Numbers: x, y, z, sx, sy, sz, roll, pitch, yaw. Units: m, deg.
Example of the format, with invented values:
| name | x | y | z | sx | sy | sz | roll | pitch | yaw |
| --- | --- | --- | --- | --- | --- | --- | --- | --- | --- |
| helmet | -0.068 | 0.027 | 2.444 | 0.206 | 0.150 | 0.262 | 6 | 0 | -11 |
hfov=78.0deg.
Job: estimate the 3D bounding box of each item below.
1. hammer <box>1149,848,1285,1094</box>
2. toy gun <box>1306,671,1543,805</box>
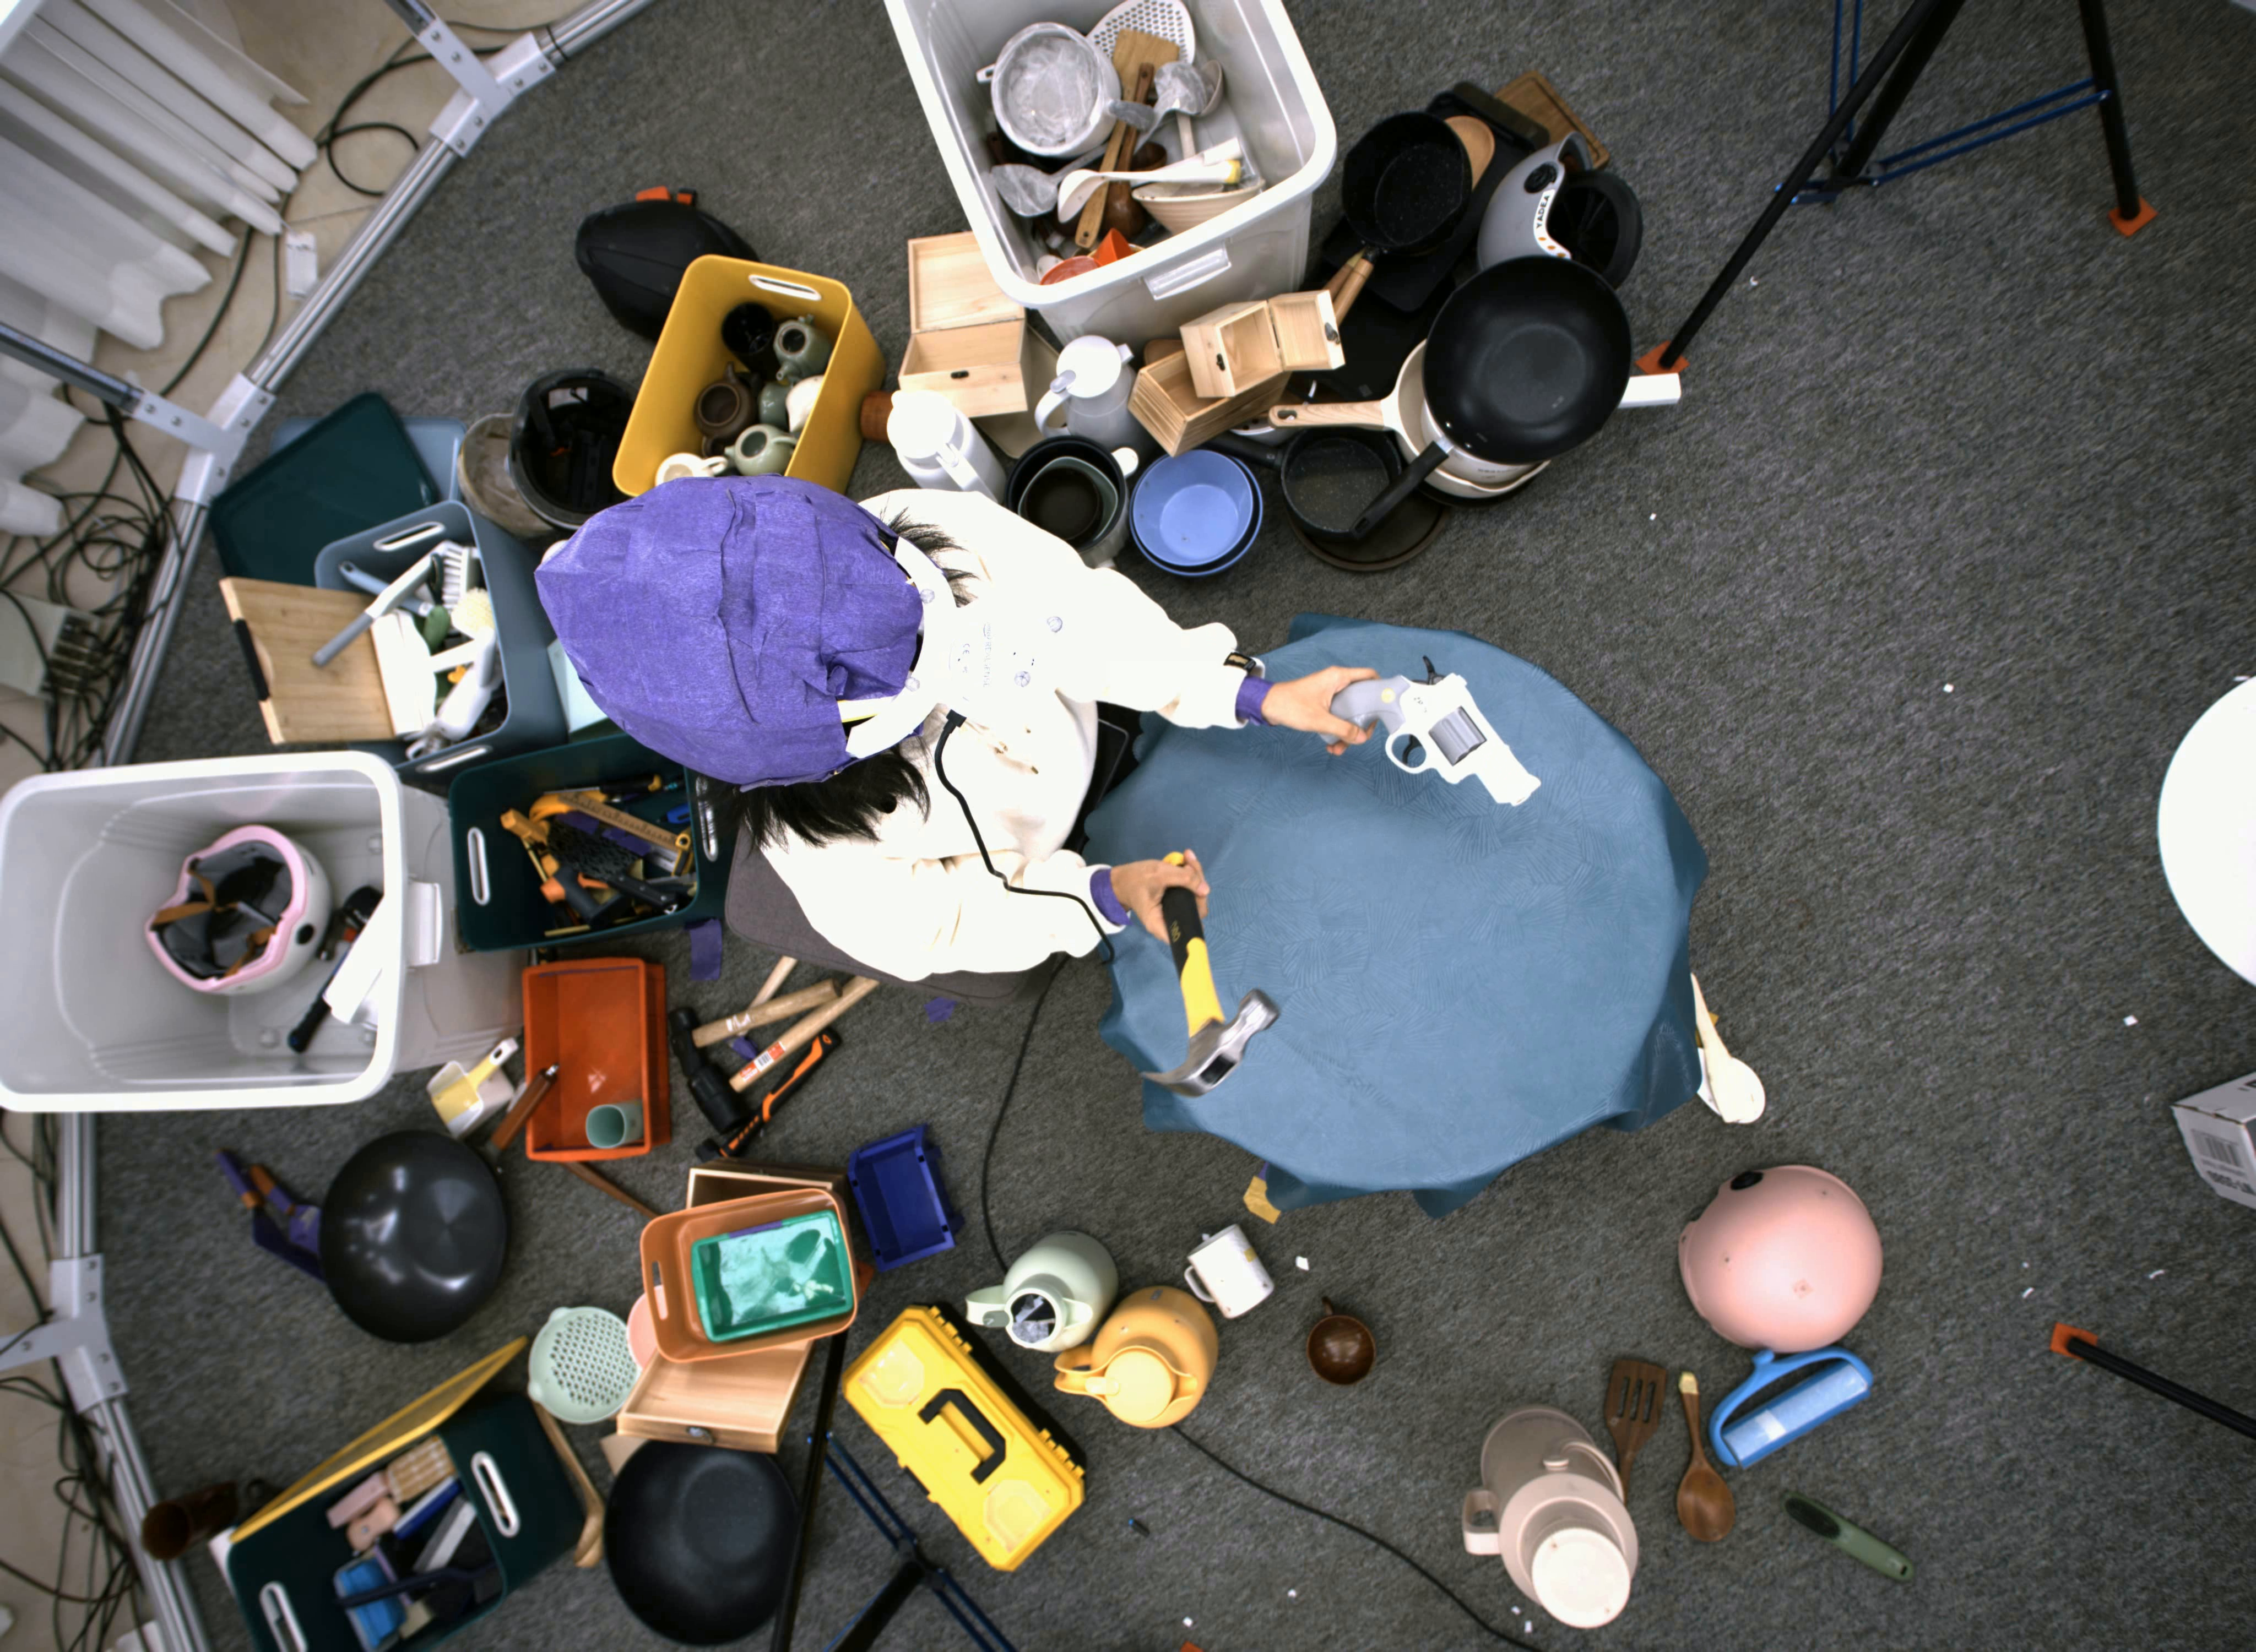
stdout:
| name | x | y | z | sx | sy | sz | roll | pitch | yaw |
| --- | --- | --- | --- | --- | --- | --- | --- | --- | --- |
| hammer | 0.054 | 0.110 | 1.216 | 0.032 | 0.331 | 0.133 | 29 | 110 | -20 |
| toy gun | 0.276 | -0.078 | 1.306 | 0.143 | 0.039 | 0.206 | -41 | 69 | 18 |
